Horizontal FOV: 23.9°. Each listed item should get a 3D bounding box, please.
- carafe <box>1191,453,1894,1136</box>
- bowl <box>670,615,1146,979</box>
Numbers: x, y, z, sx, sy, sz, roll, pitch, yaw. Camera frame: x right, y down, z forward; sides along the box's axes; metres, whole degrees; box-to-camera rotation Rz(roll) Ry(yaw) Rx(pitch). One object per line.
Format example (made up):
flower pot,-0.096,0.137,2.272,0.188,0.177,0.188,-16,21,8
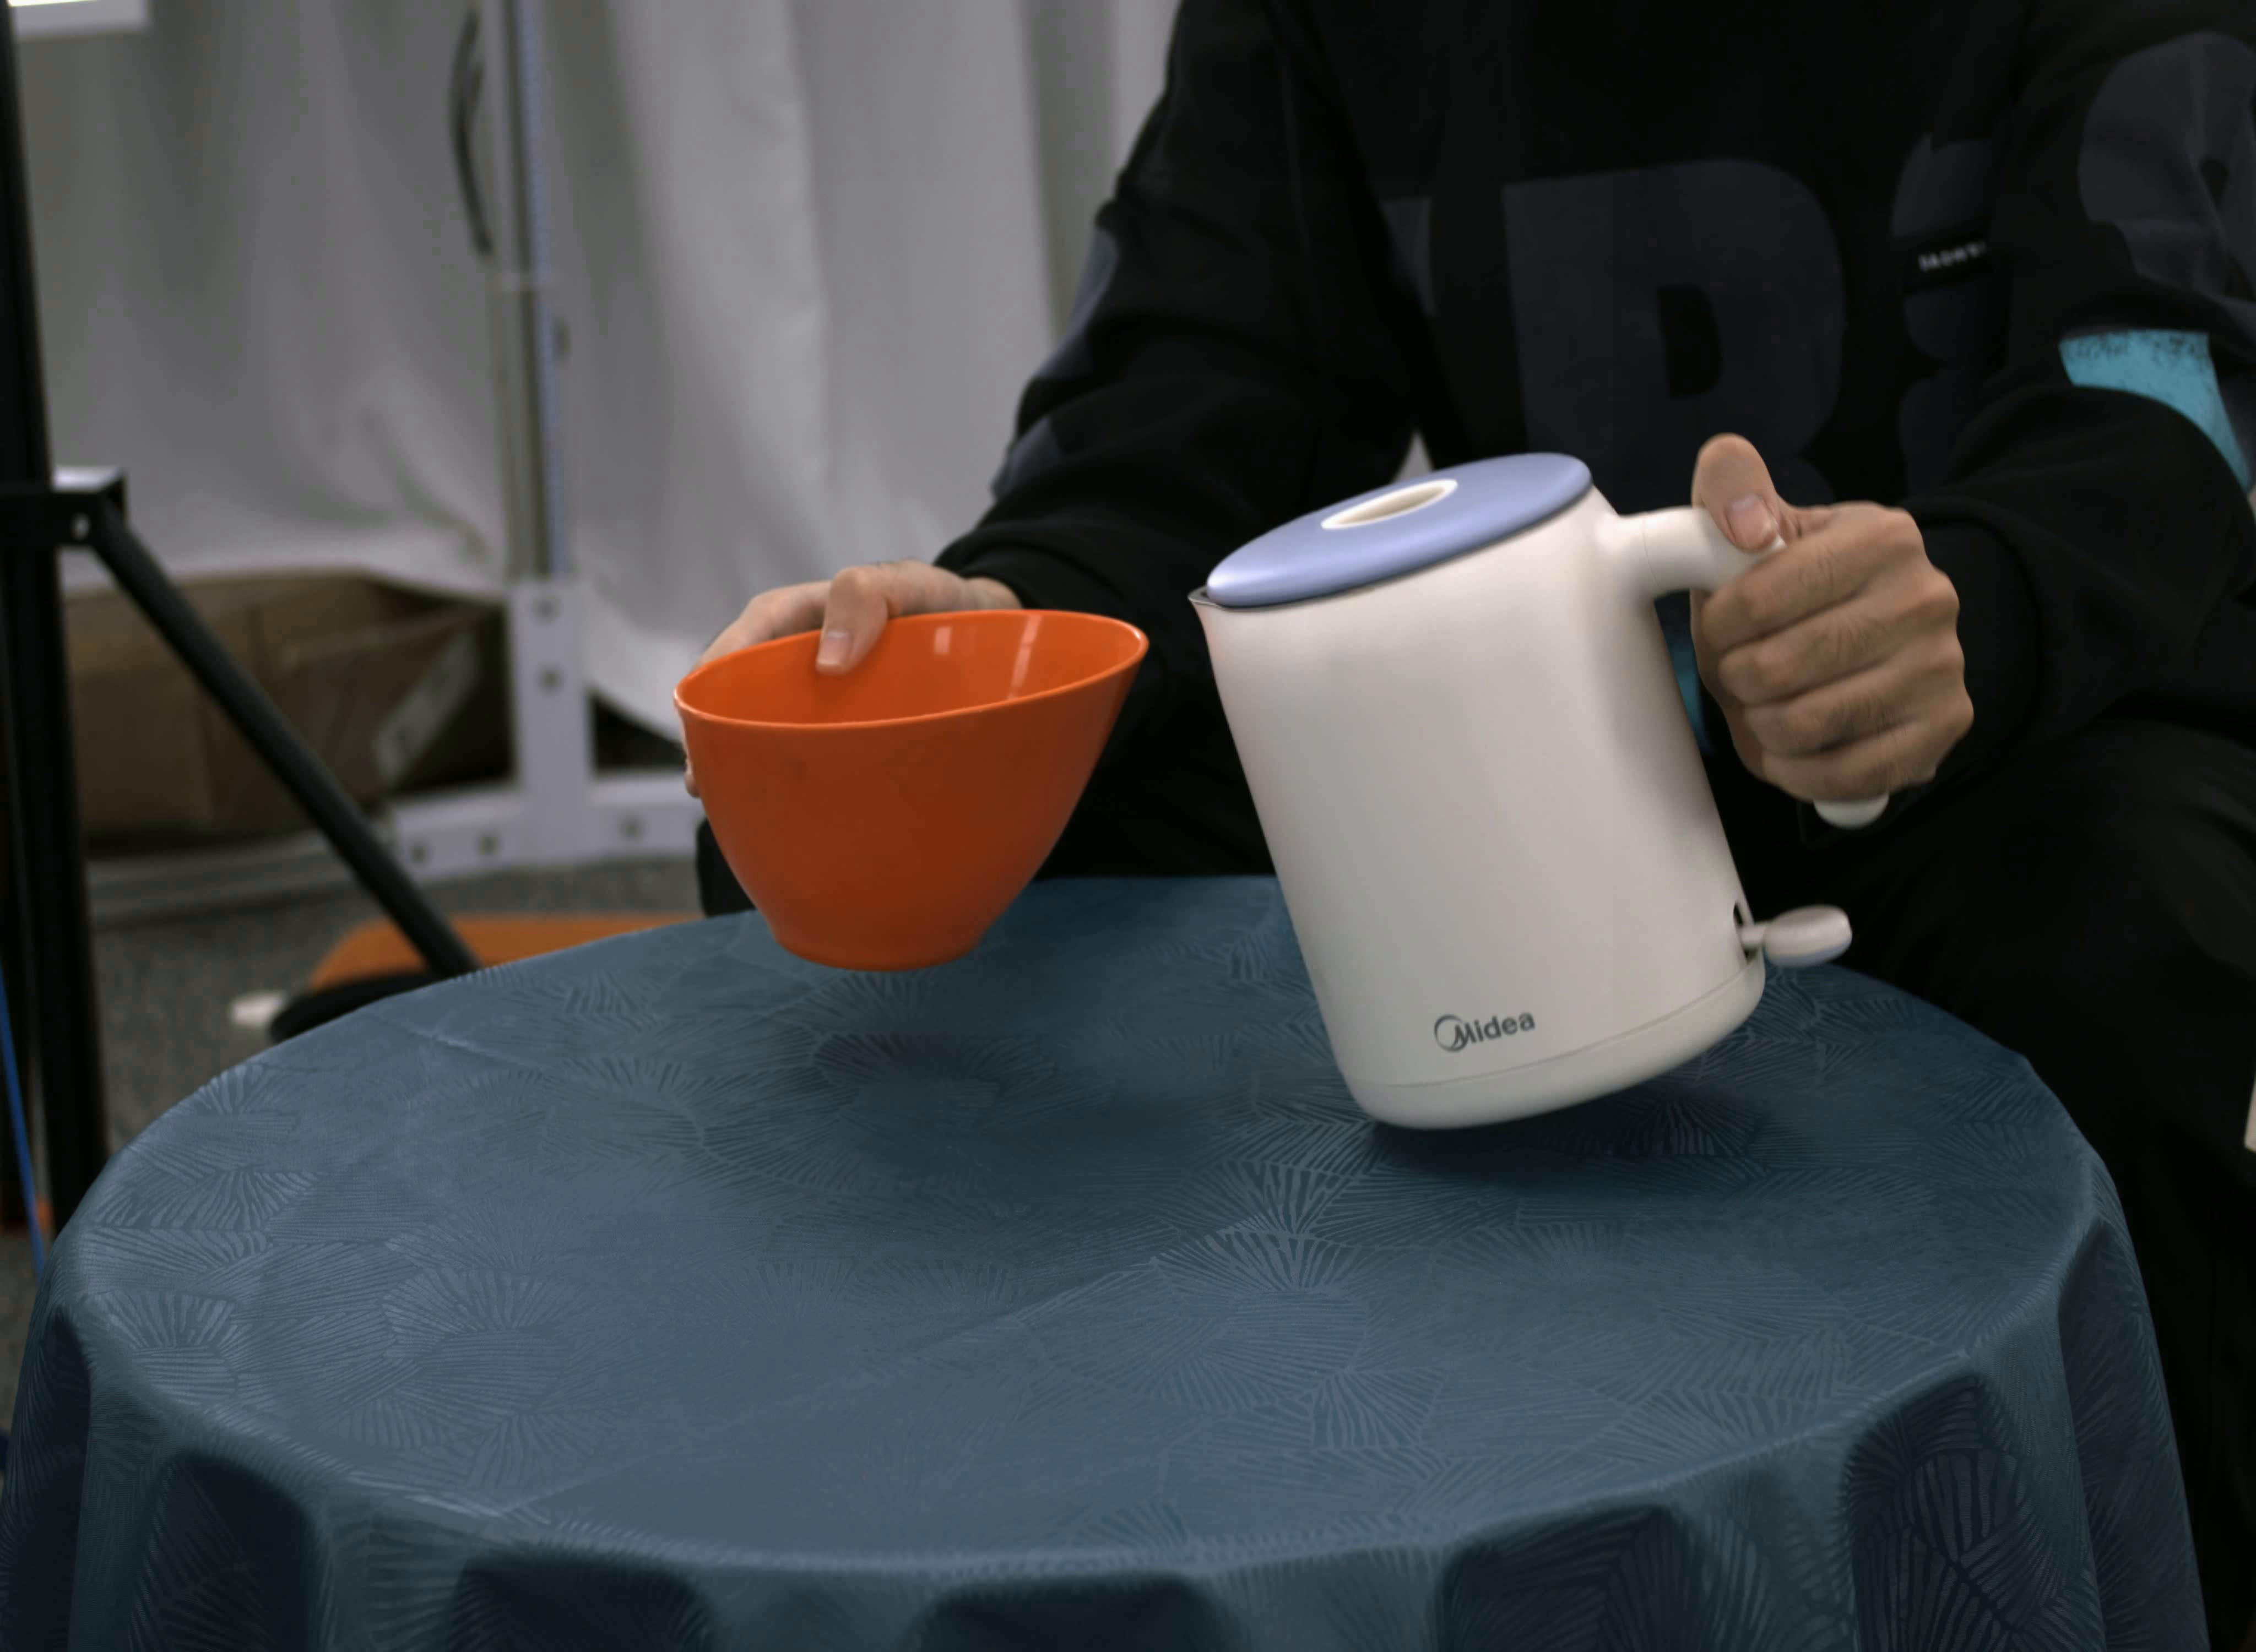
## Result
carafe,0.127,-0.014,1.565,0.193,0.182,0.131,-11,13,20
bowl,-0.070,-0.009,1.662,0.147,0.104,0.149,1,20,-2
